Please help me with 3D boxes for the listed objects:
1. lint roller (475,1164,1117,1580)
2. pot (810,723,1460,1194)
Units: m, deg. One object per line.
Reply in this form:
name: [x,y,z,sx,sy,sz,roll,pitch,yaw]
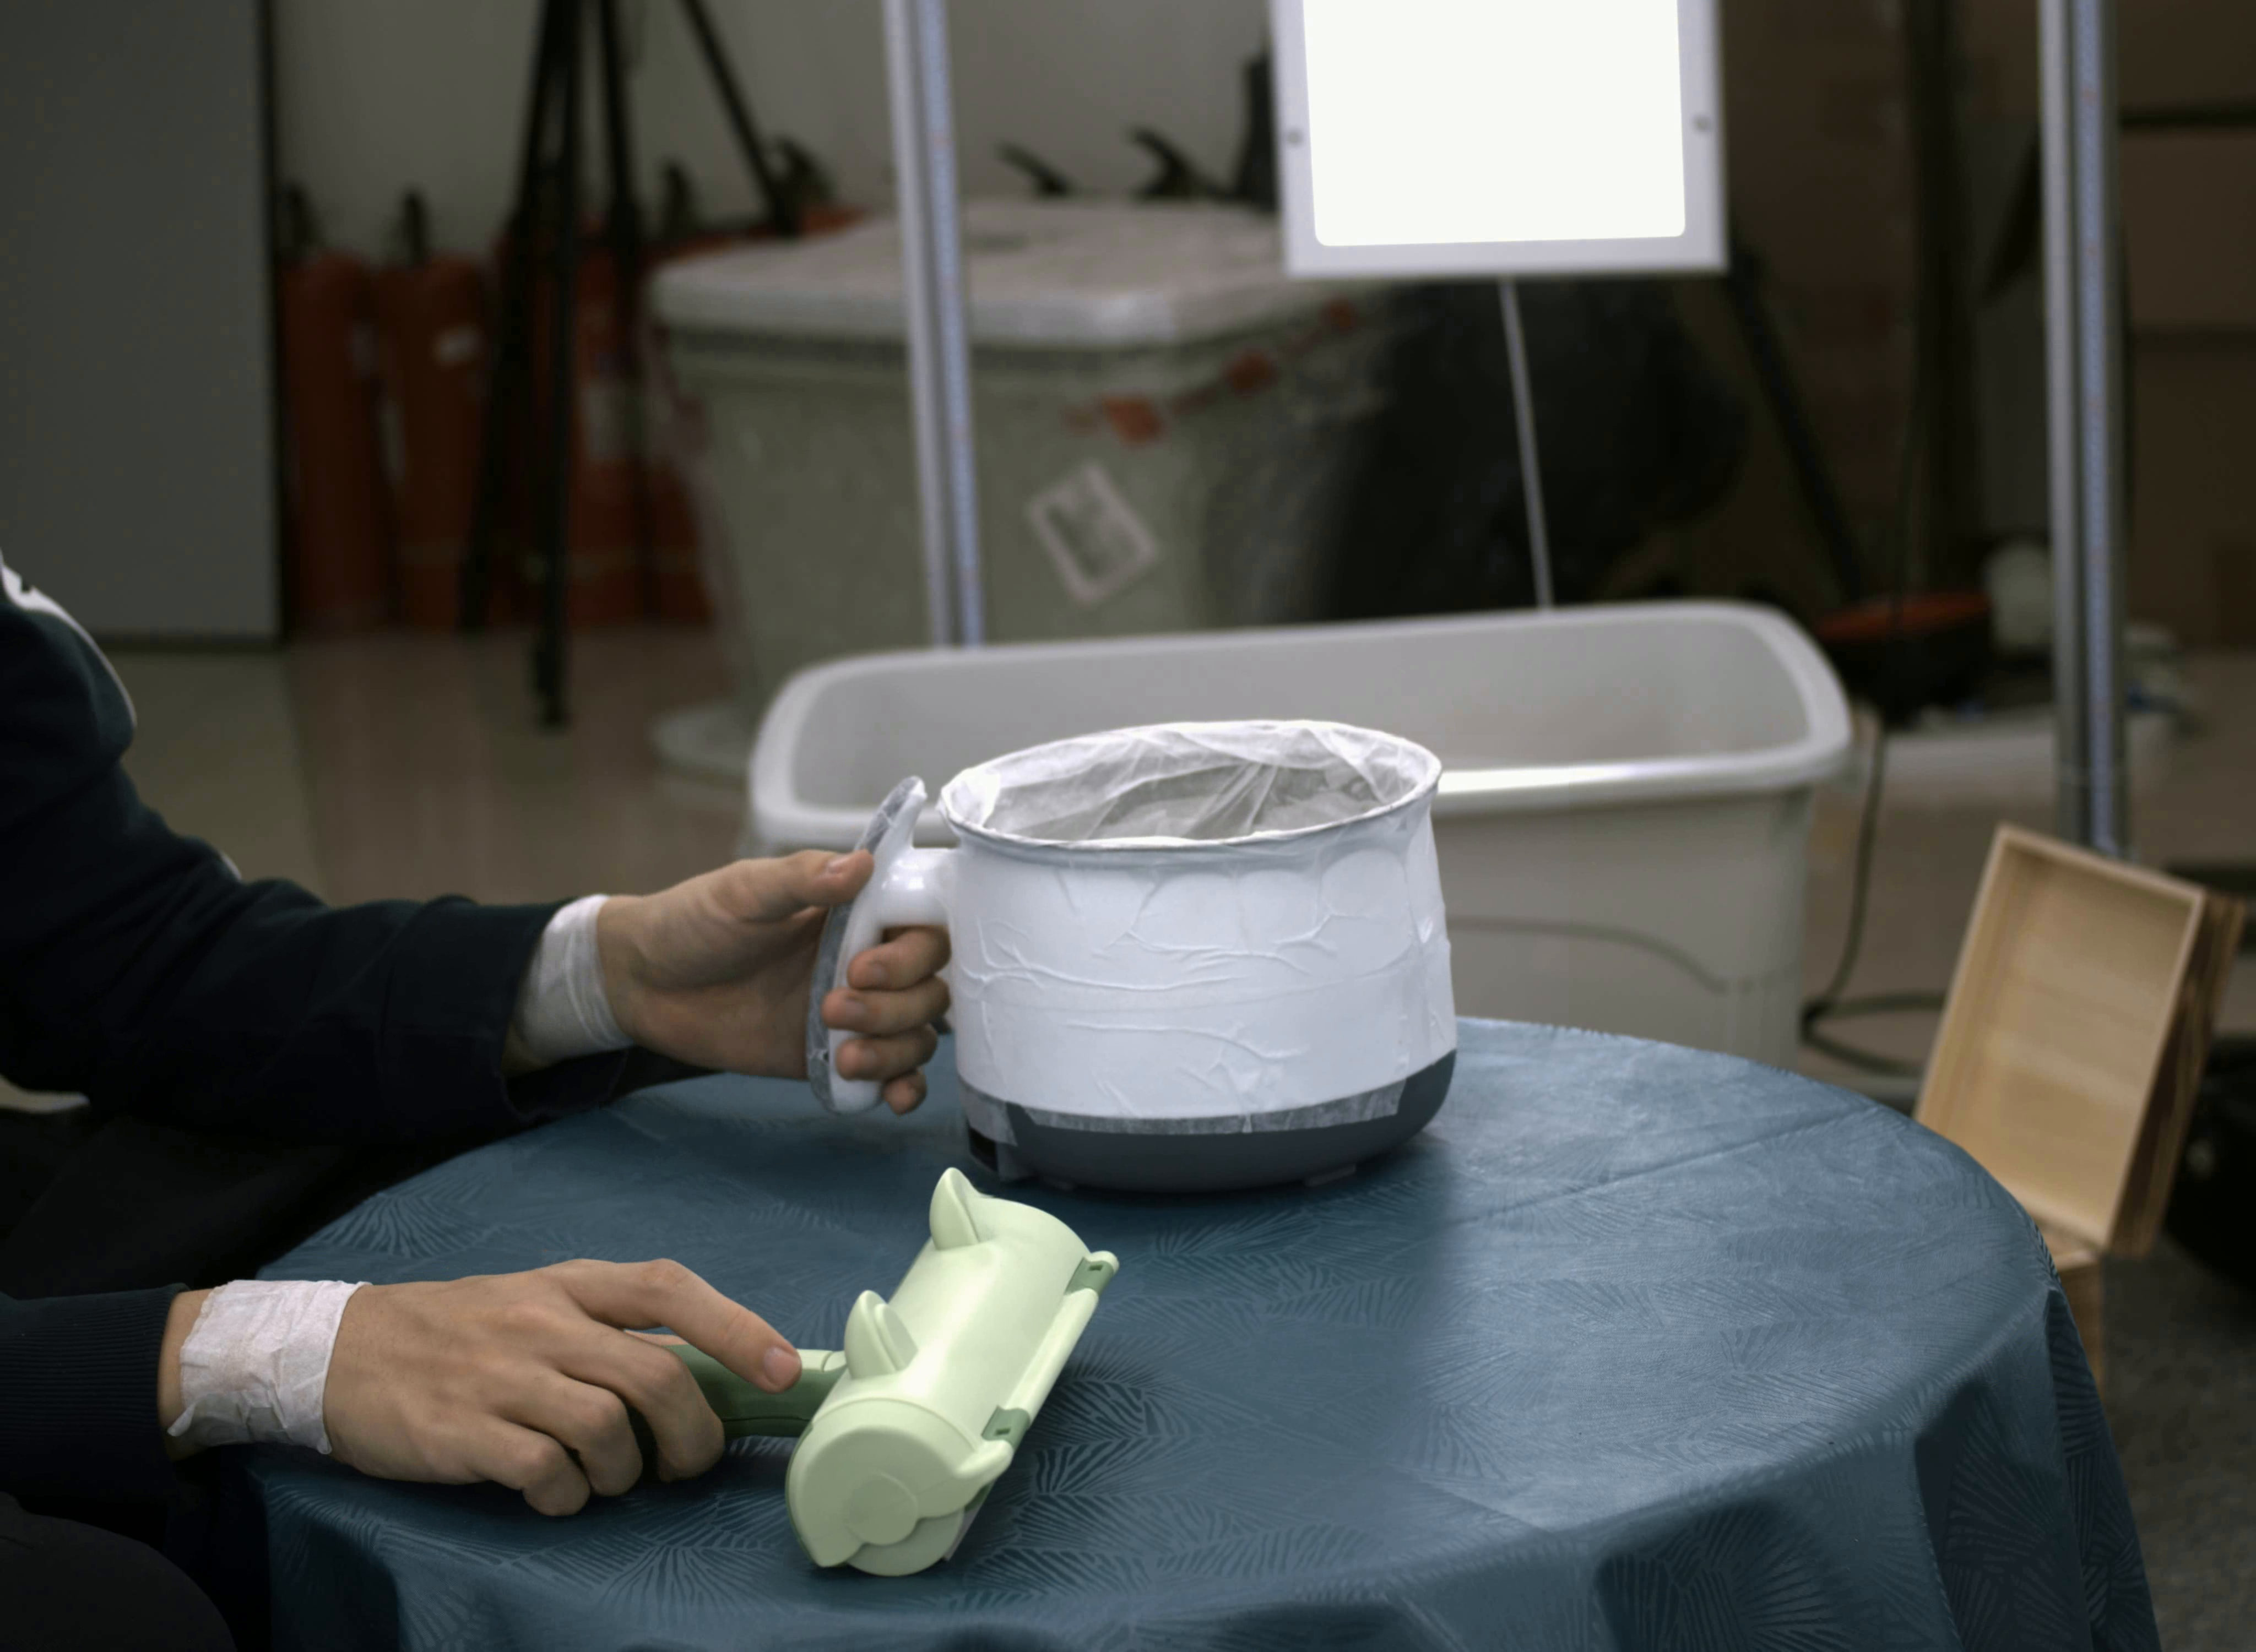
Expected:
lint roller: [-0.109,0.156,1.657,0.184,0.082,0.196,3,15,11]
pot: [0.000,0.047,1.933,0.235,0.137,0.177,-2,14,11]
